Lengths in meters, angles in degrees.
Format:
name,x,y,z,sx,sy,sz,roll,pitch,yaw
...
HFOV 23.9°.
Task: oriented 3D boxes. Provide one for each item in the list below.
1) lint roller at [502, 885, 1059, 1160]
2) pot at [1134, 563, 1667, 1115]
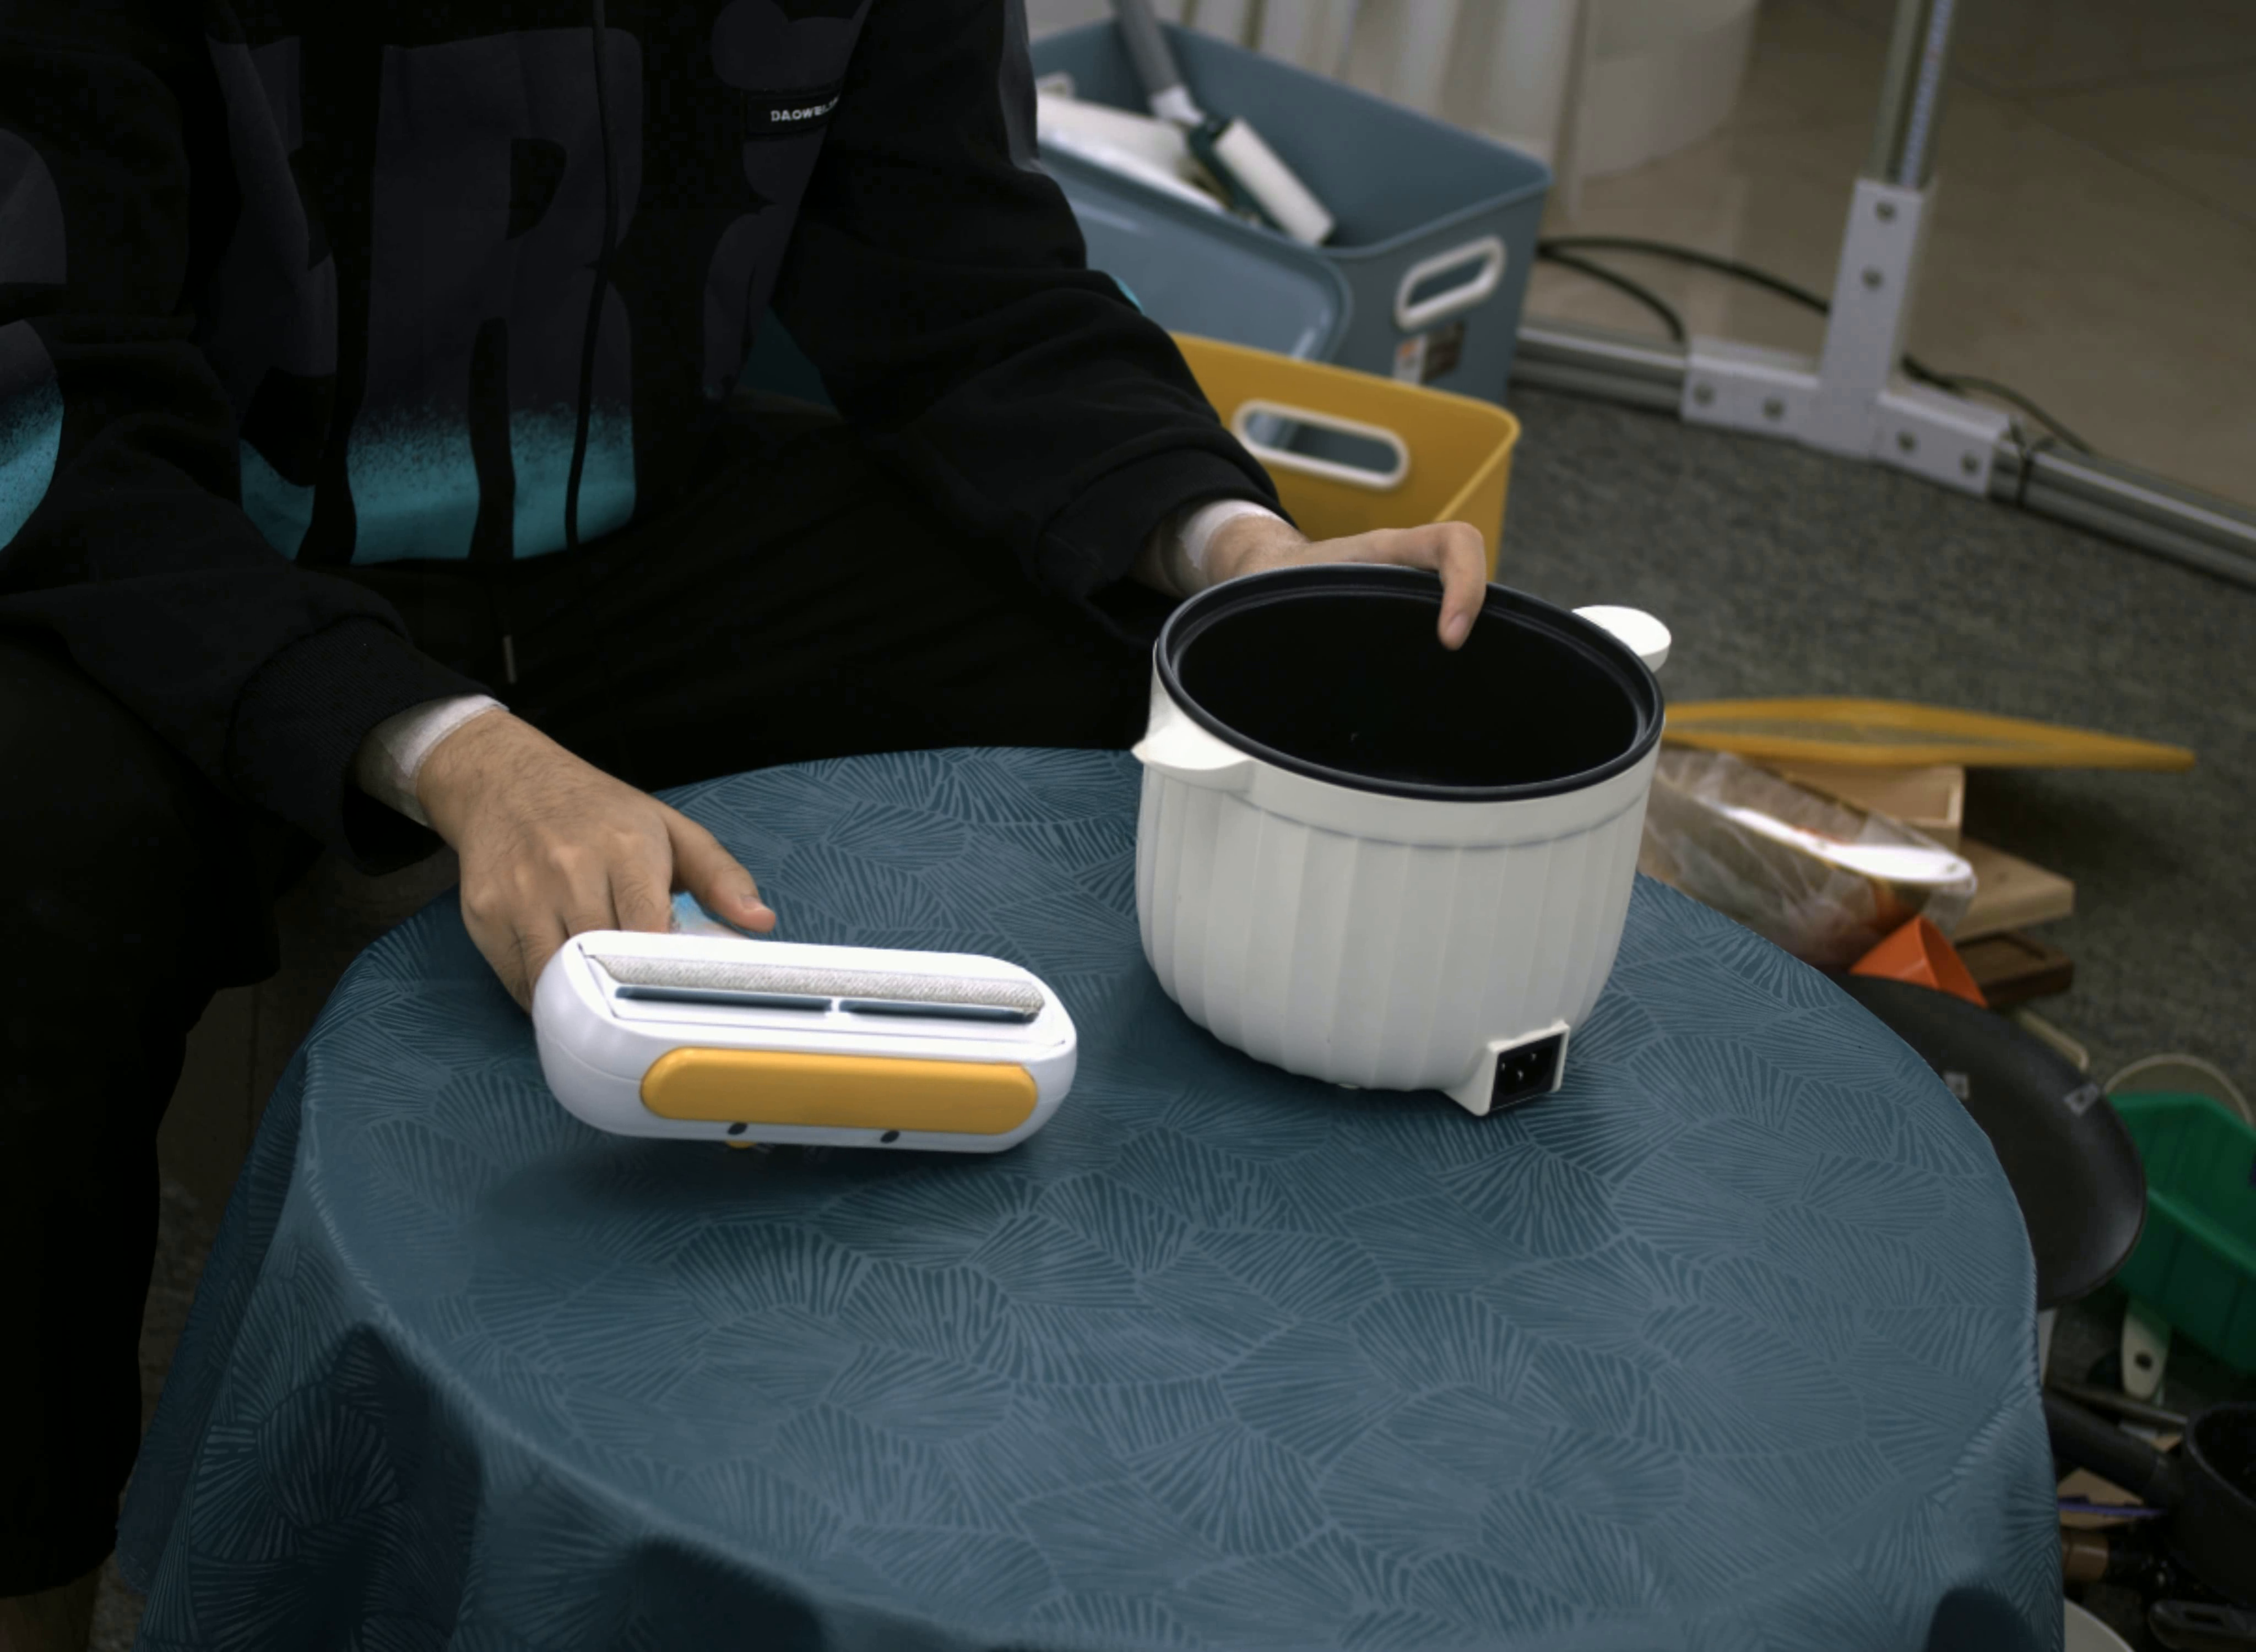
name,x,y,z,sx,sy,sz,roll,pitch,yaw
lint roller,-0.137,0.054,1.831,0.191,0.074,0.194,2,25,-24
pot,0.088,0.003,1.902,0.239,0.142,0.192,-14,36,-37
